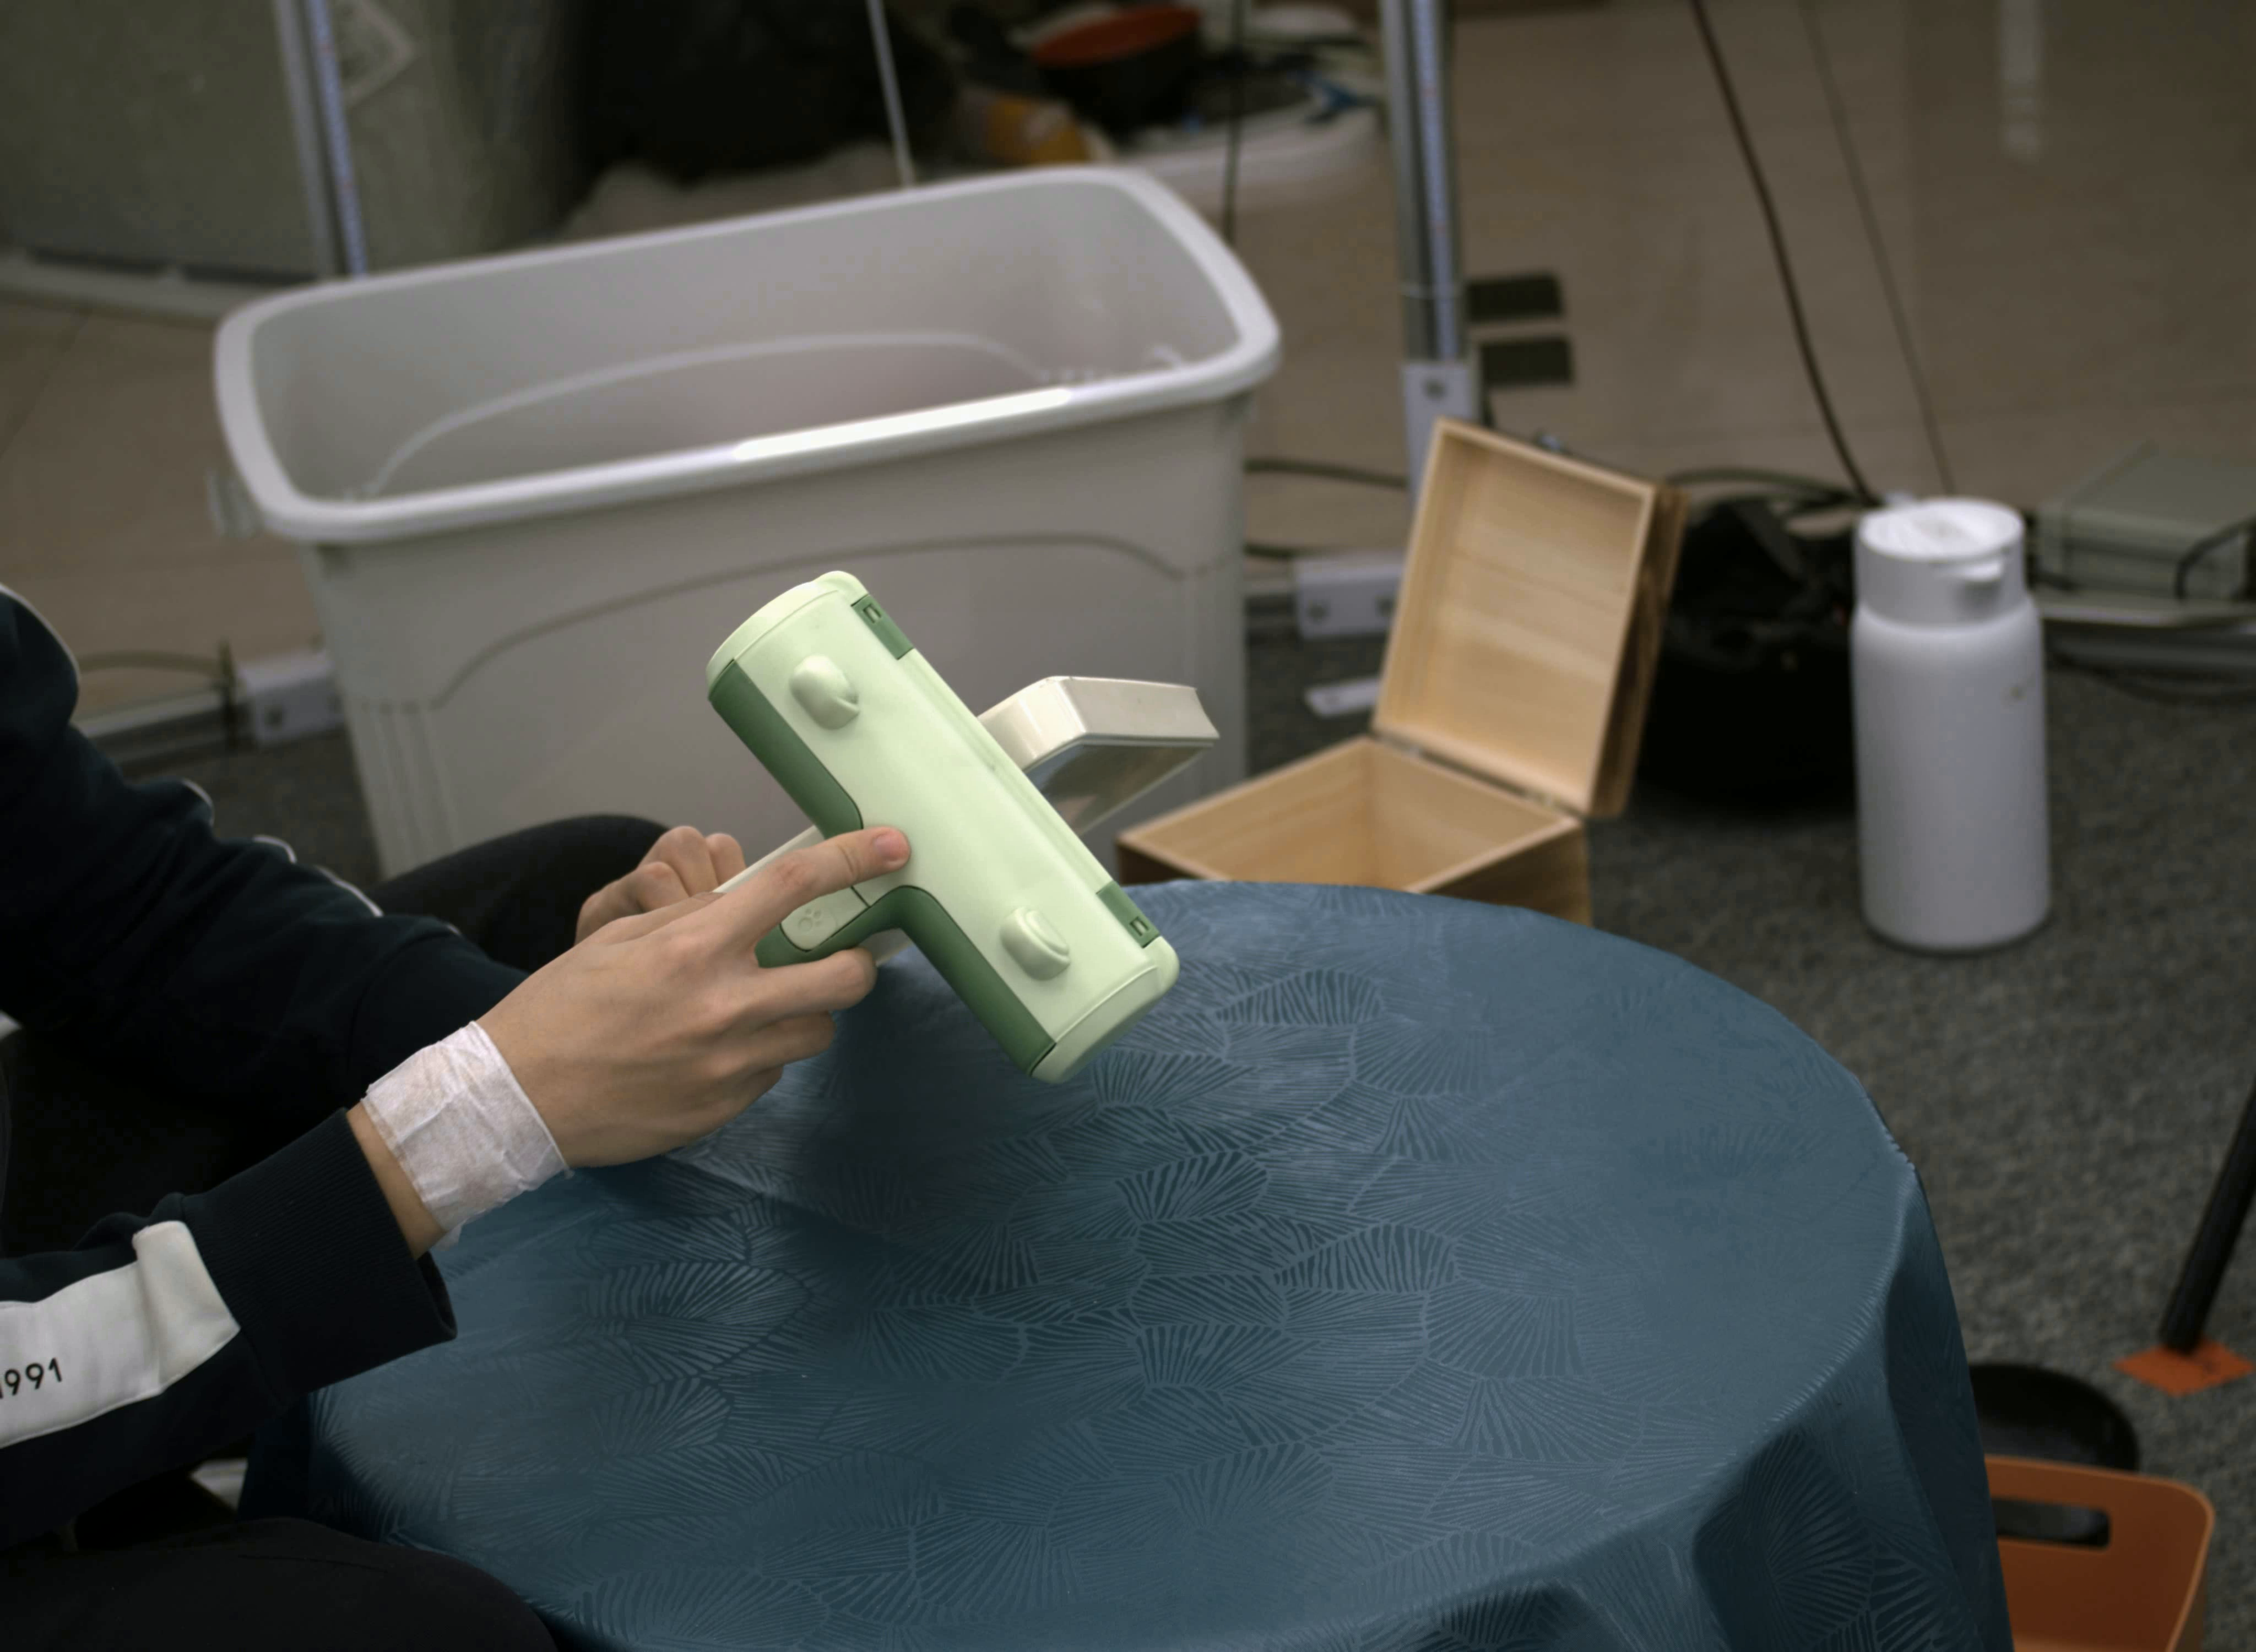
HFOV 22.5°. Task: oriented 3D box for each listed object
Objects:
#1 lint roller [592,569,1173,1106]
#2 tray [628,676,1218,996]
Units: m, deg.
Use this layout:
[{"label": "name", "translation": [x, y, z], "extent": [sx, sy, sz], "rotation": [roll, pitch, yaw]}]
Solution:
[{"label": "lint roller", "translation": [-0.111, 0.032, 1.974], "extent": [0.182, 0.198, 0.083], "rotation": [-38, -6, -17]}, {"label": "tray", "translation": [-0.072, 0.006, 2.183], "extent": [0.192, 0.027, 0.300], "rotation": [-33, -6, 10]}]
